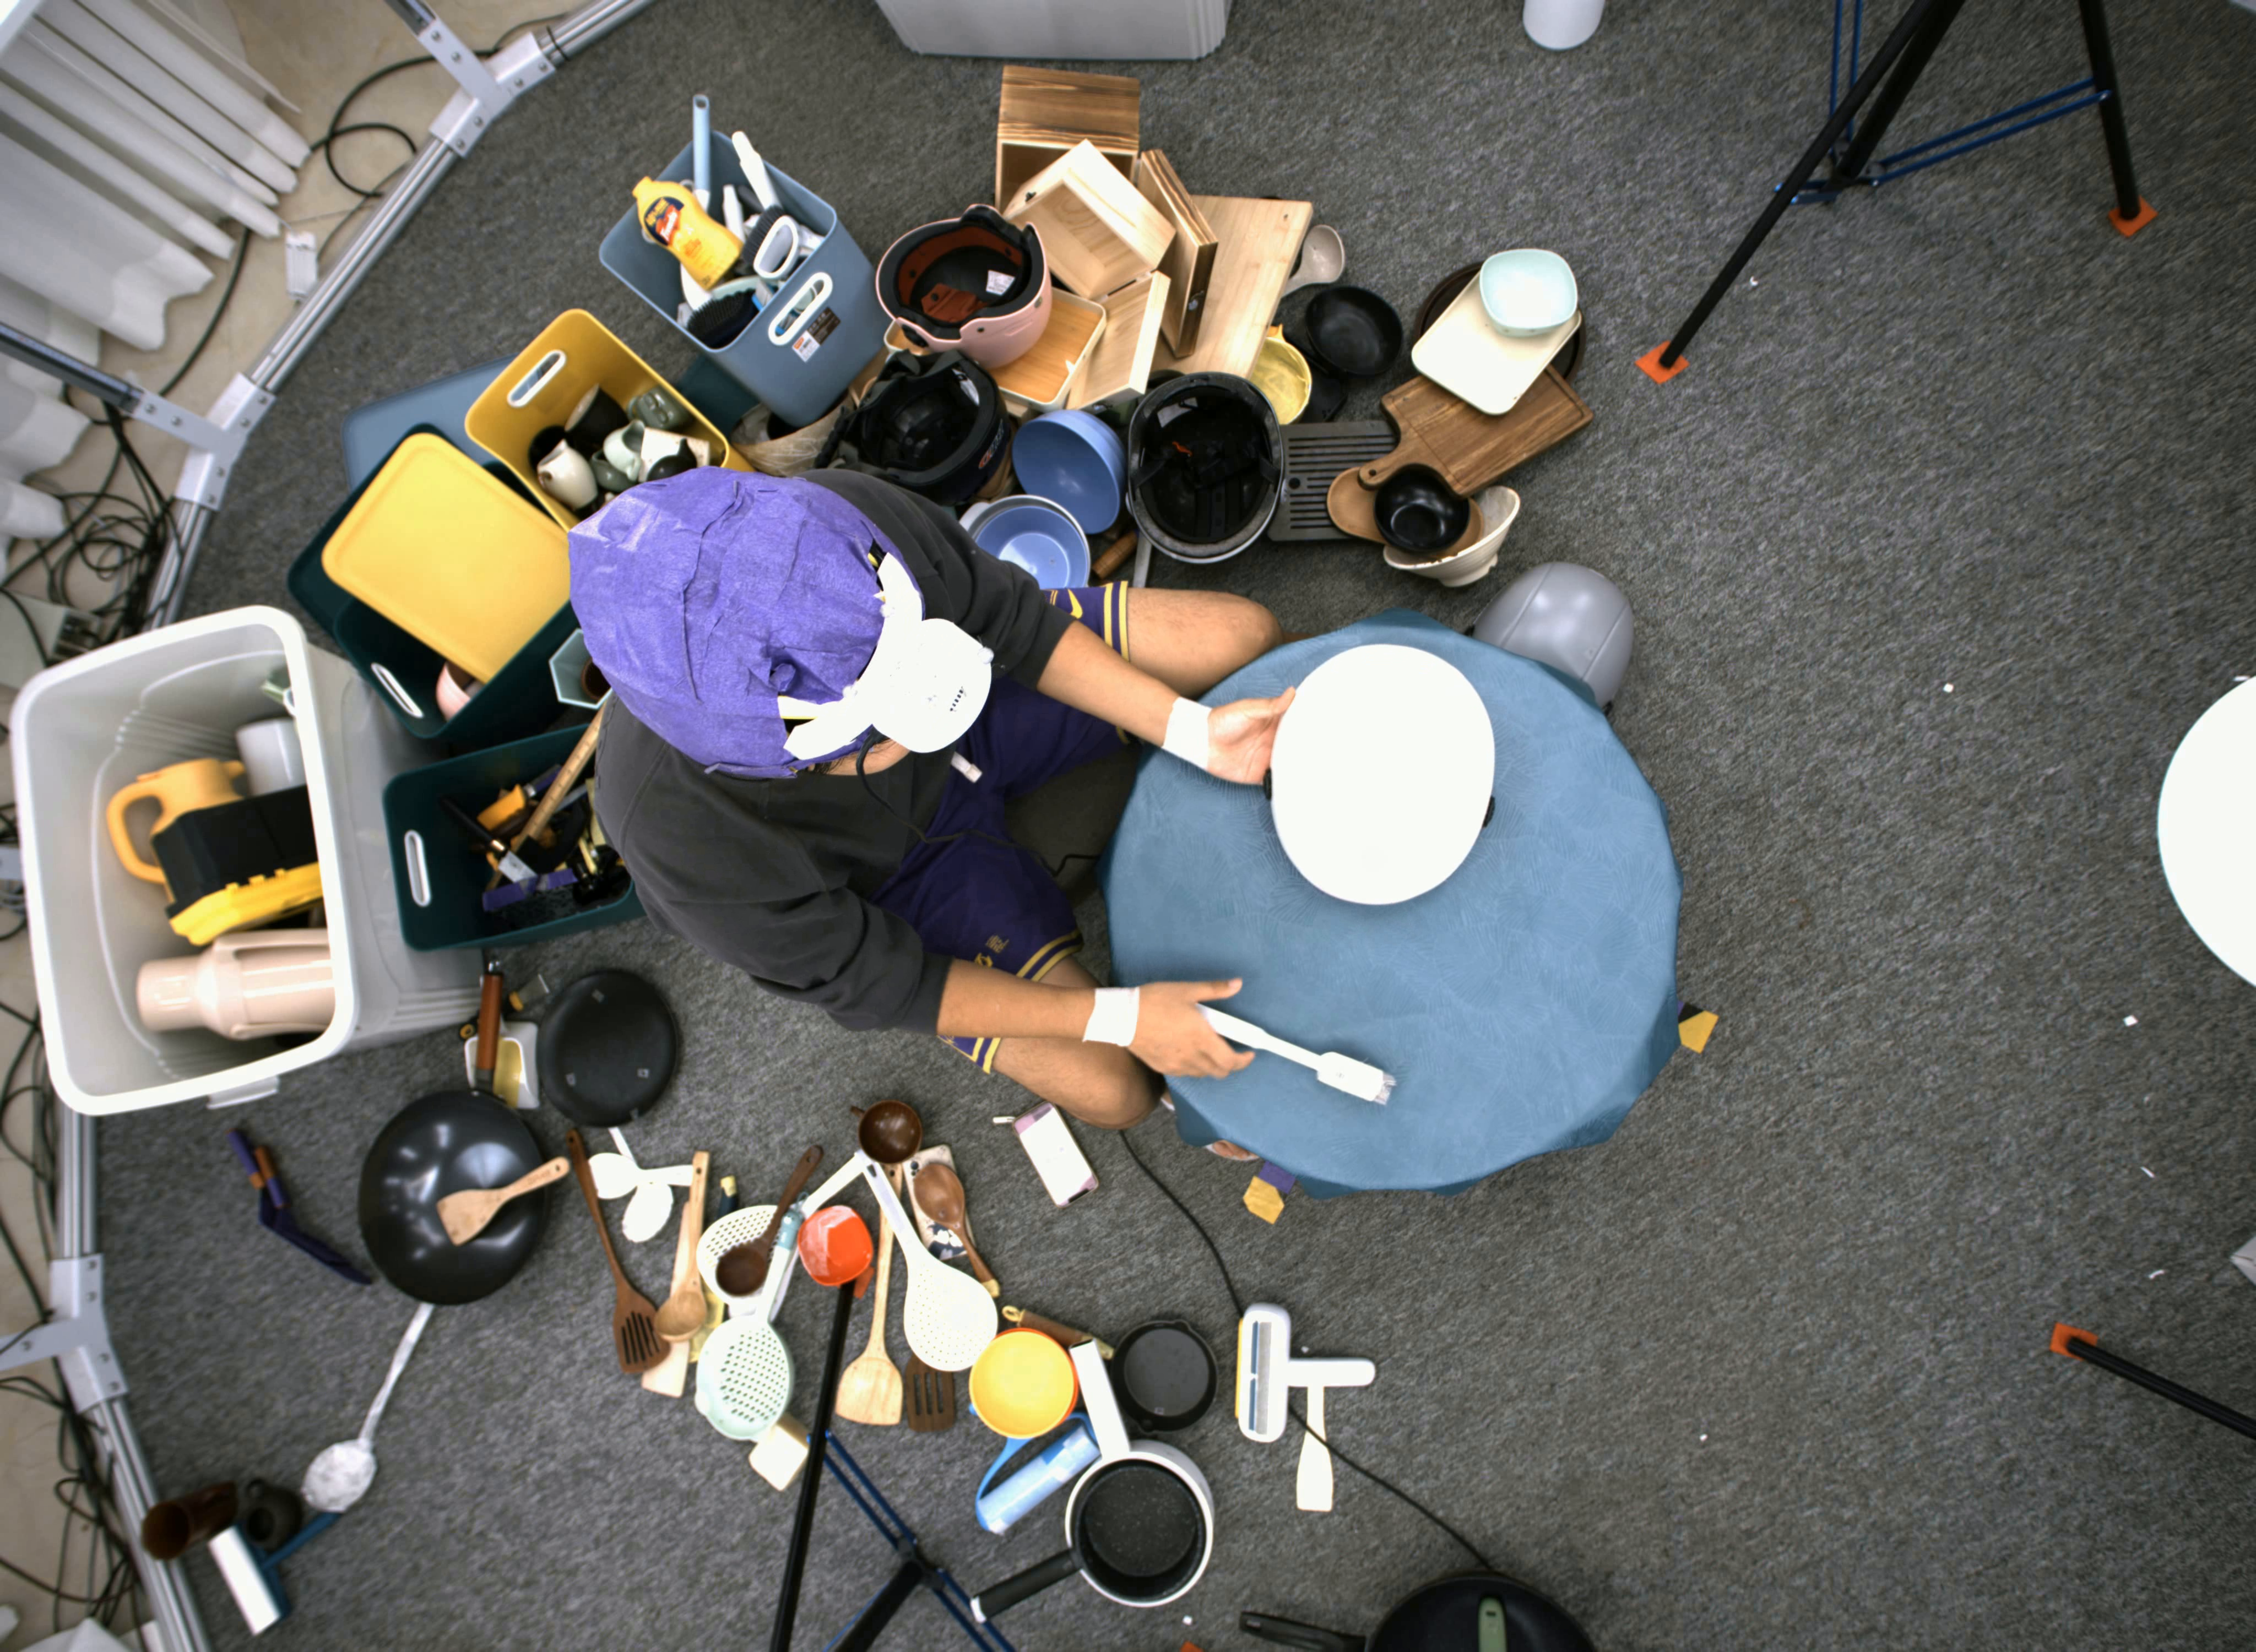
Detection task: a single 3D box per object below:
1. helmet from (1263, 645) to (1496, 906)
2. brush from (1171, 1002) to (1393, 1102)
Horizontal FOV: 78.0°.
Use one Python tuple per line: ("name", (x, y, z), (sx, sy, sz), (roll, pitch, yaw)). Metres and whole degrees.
("helmet", (0.256, -0.054, 1.378), (0.237, 0.167, 0.268), (8, 91, 6))
("brush", (0.160, 0.234, 1.458), (0.243, 0.050, 0.034), (17, 83, 24))
